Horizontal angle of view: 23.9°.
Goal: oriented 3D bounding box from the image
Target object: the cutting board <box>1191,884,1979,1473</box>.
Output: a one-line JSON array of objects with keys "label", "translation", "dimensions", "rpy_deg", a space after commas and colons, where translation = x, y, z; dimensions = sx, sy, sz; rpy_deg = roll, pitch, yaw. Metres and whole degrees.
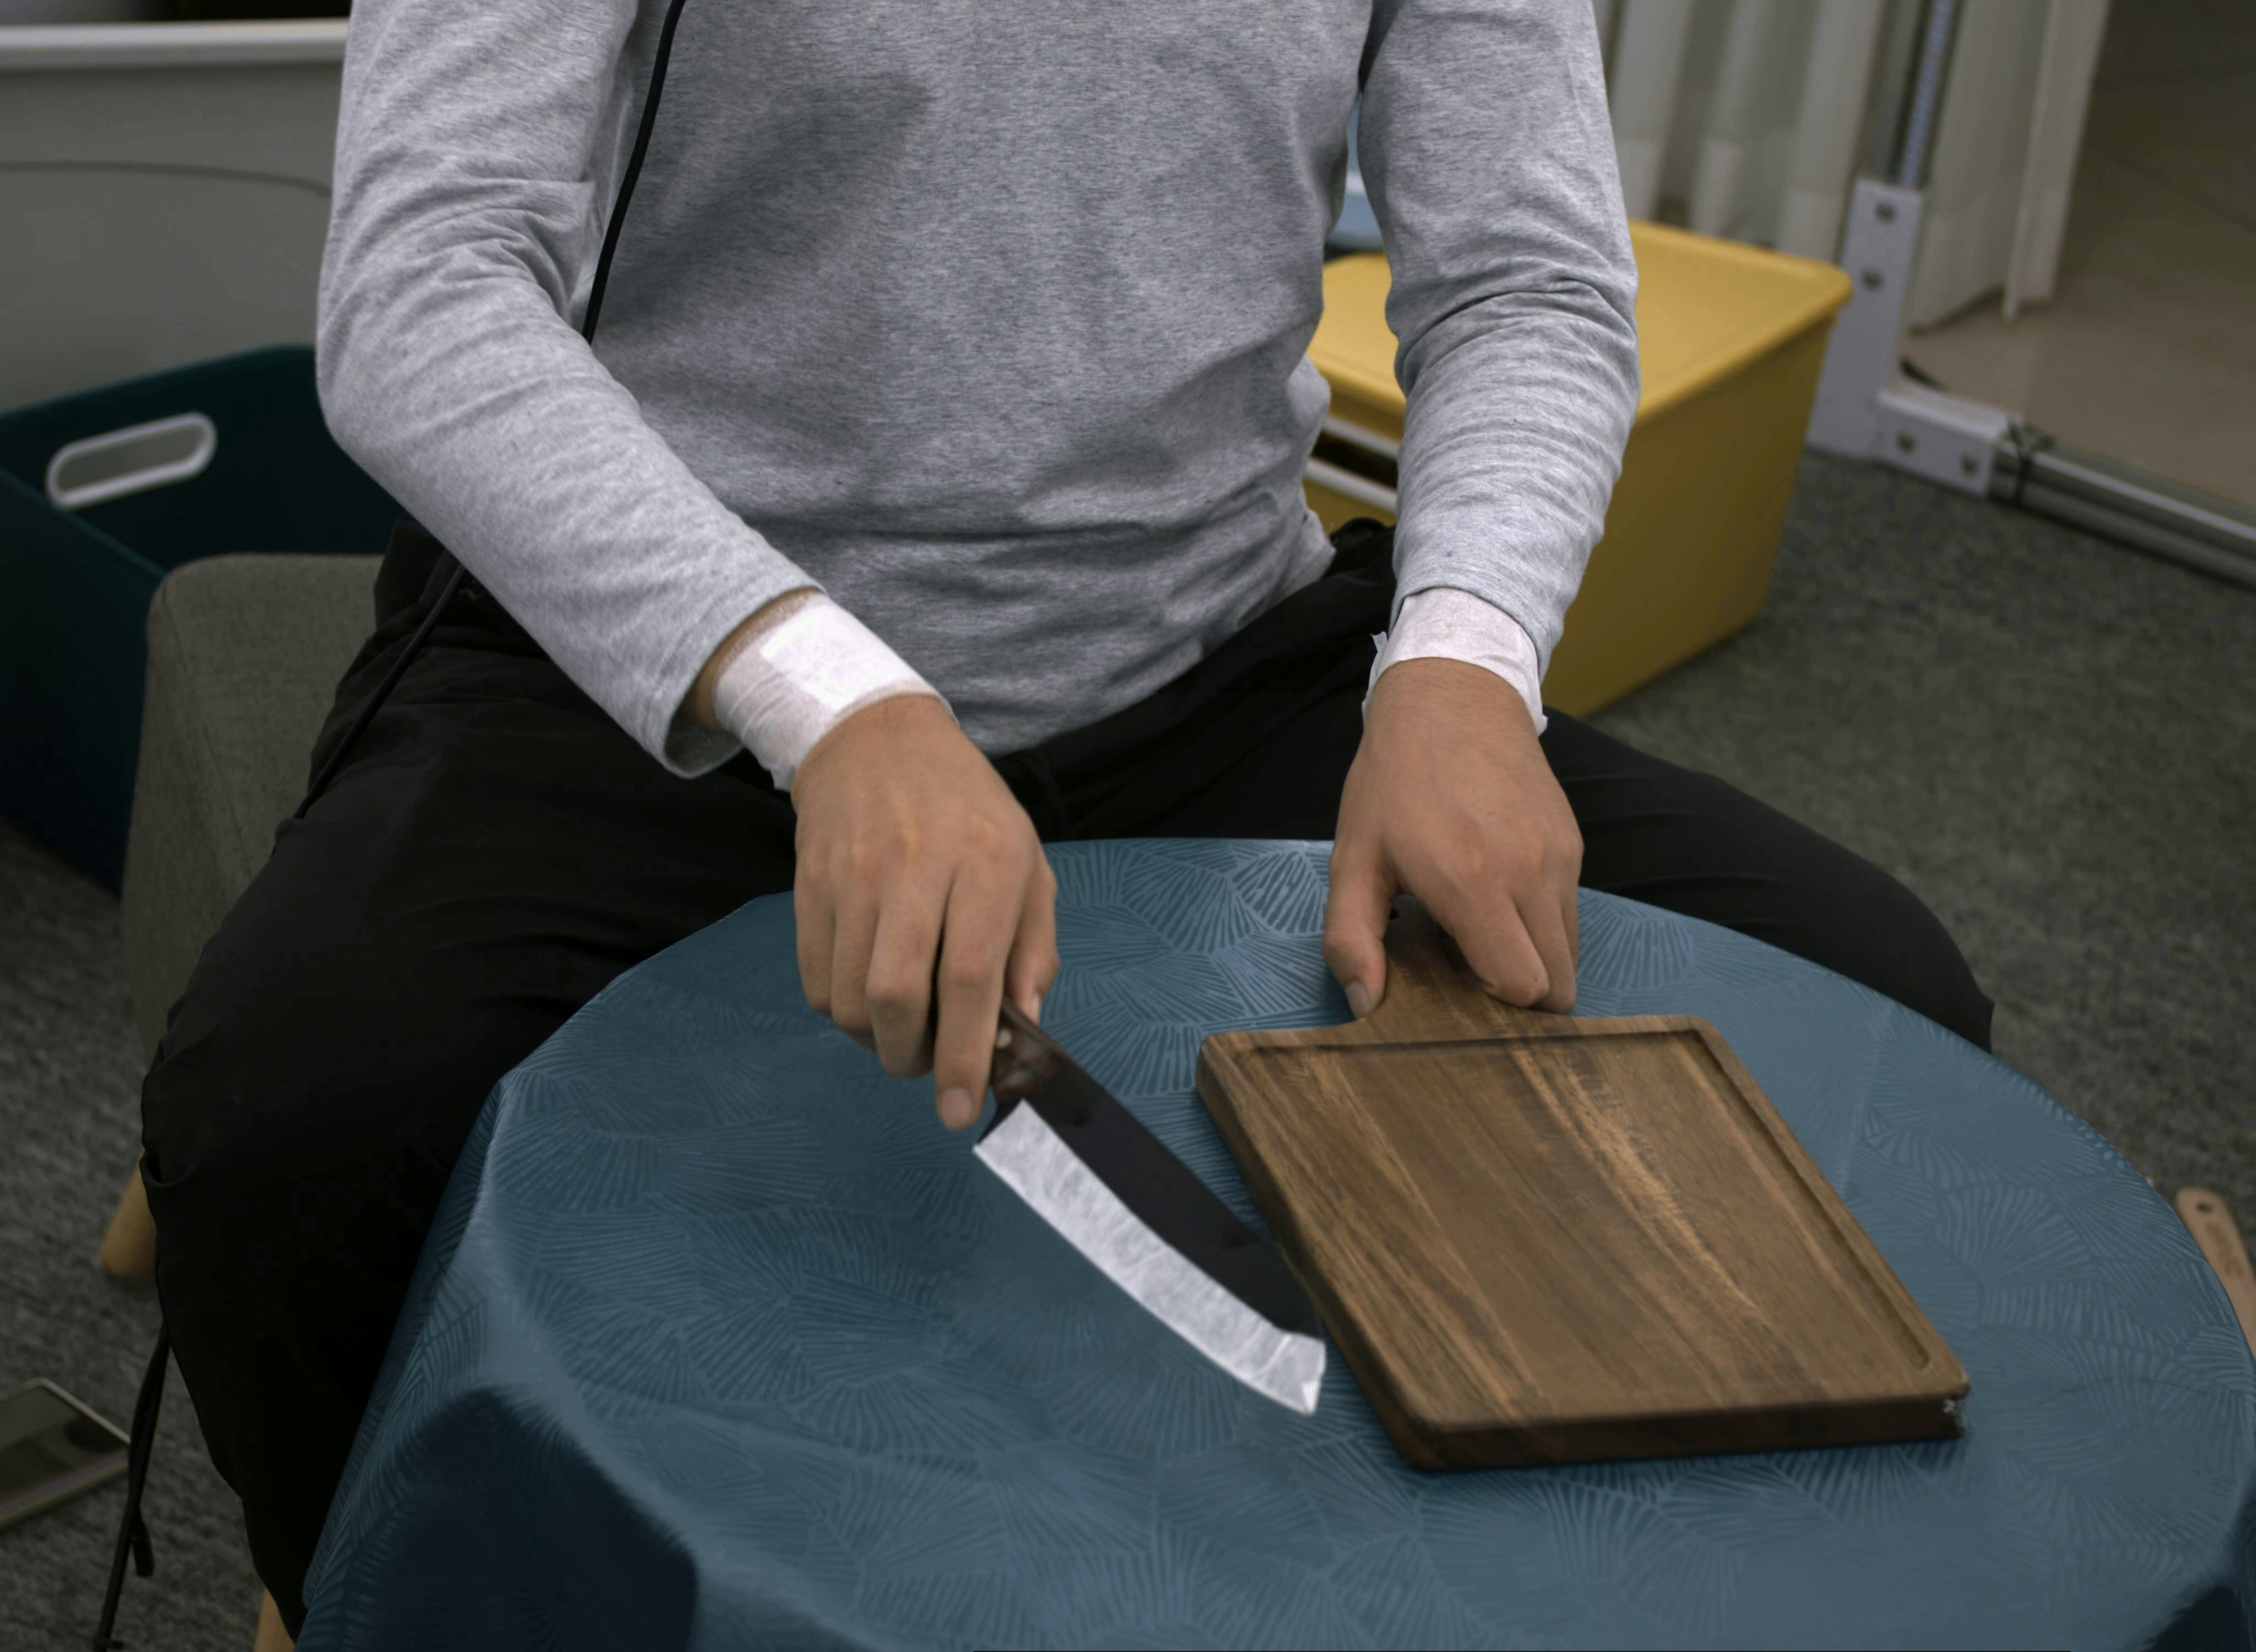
[{"label": "cutting board", "translation": [0.136, 0.112, 1.837], "dimensions": [0.200, 0.023, 0.355], "rpy_deg": [-1, 28, -17]}]

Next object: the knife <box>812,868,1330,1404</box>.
[{"label": "knife", "translation": [-0.020, 0.096, 1.703], "dimensions": [0.050, 0.020, 0.292], "rpy_deg": [-44, 49, -3]}]
